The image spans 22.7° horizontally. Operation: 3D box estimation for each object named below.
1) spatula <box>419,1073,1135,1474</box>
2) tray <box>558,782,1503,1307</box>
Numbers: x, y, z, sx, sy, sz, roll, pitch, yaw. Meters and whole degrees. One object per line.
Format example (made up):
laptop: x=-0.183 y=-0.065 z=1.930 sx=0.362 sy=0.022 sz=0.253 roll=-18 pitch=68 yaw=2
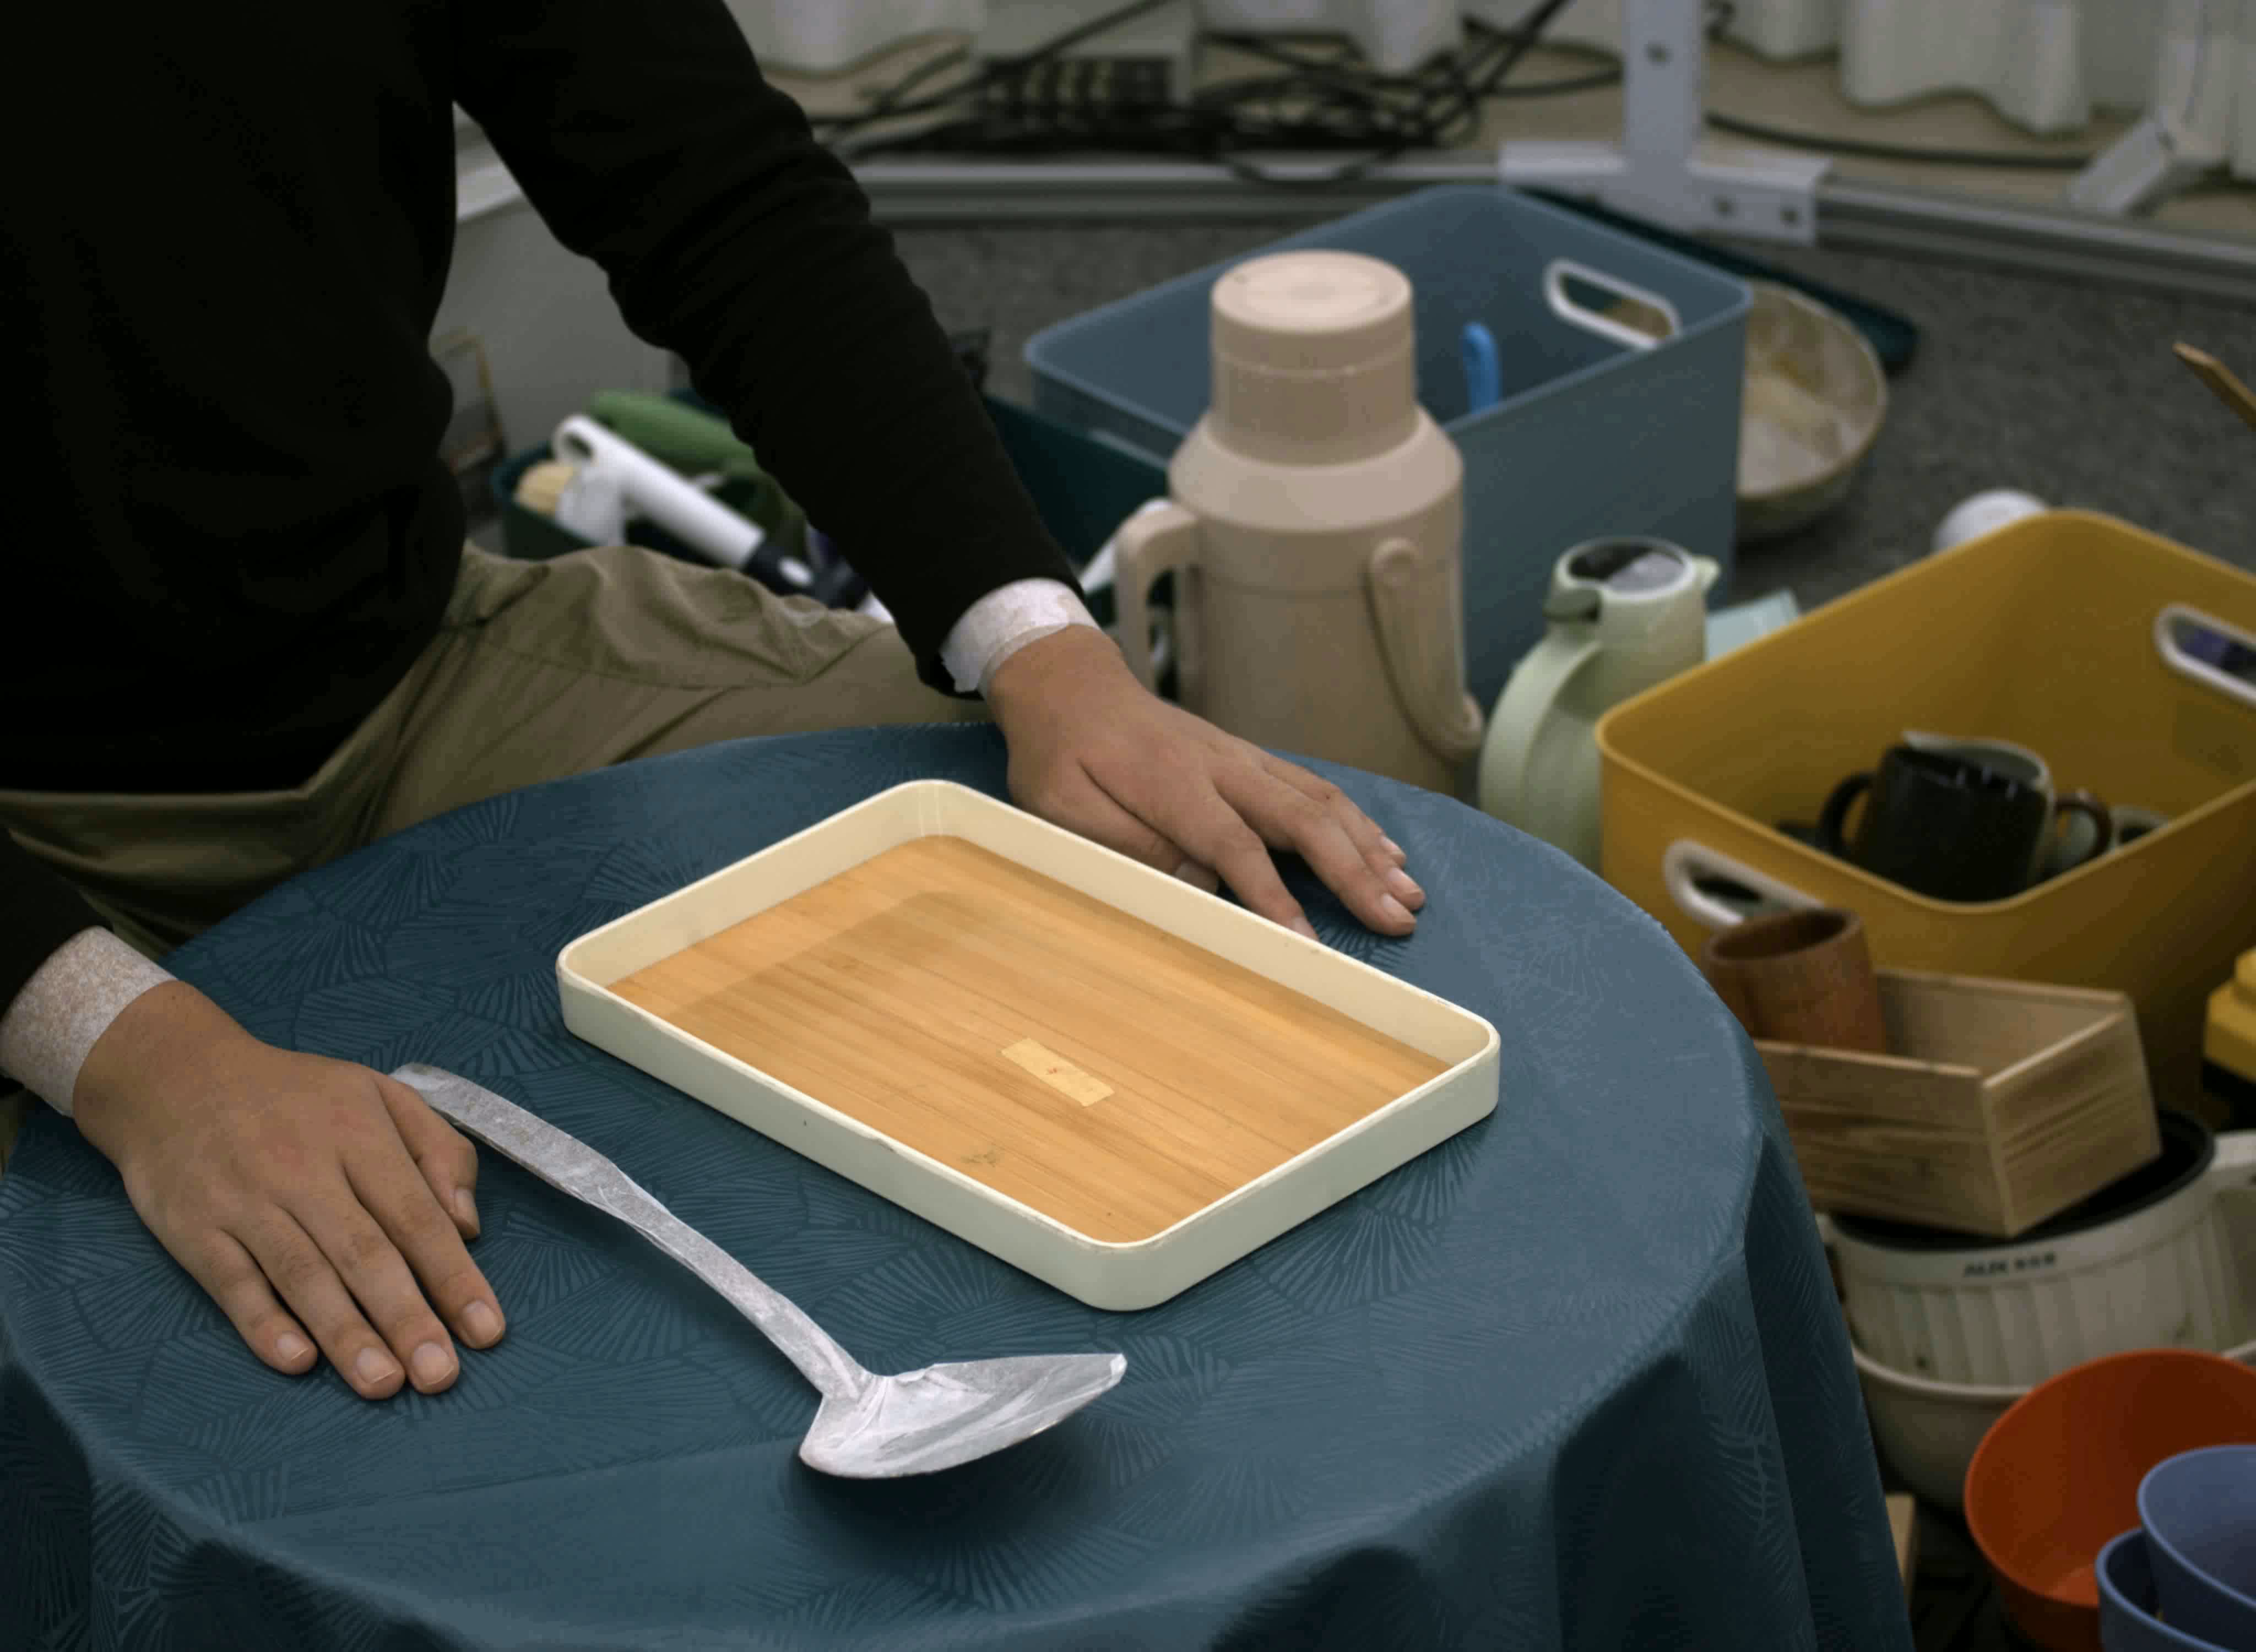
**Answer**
spatula: x=-0.136 y=0.135 z=1.808 sx=0.099 sy=0.044 sz=0.365 roll=-22 pitch=33 yaw=-32
tray: x=-0.037 y=0.070 z=1.936 sx=0.194 sy=0.027 sz=0.300 roll=-26 pitch=35 yaw=-37
